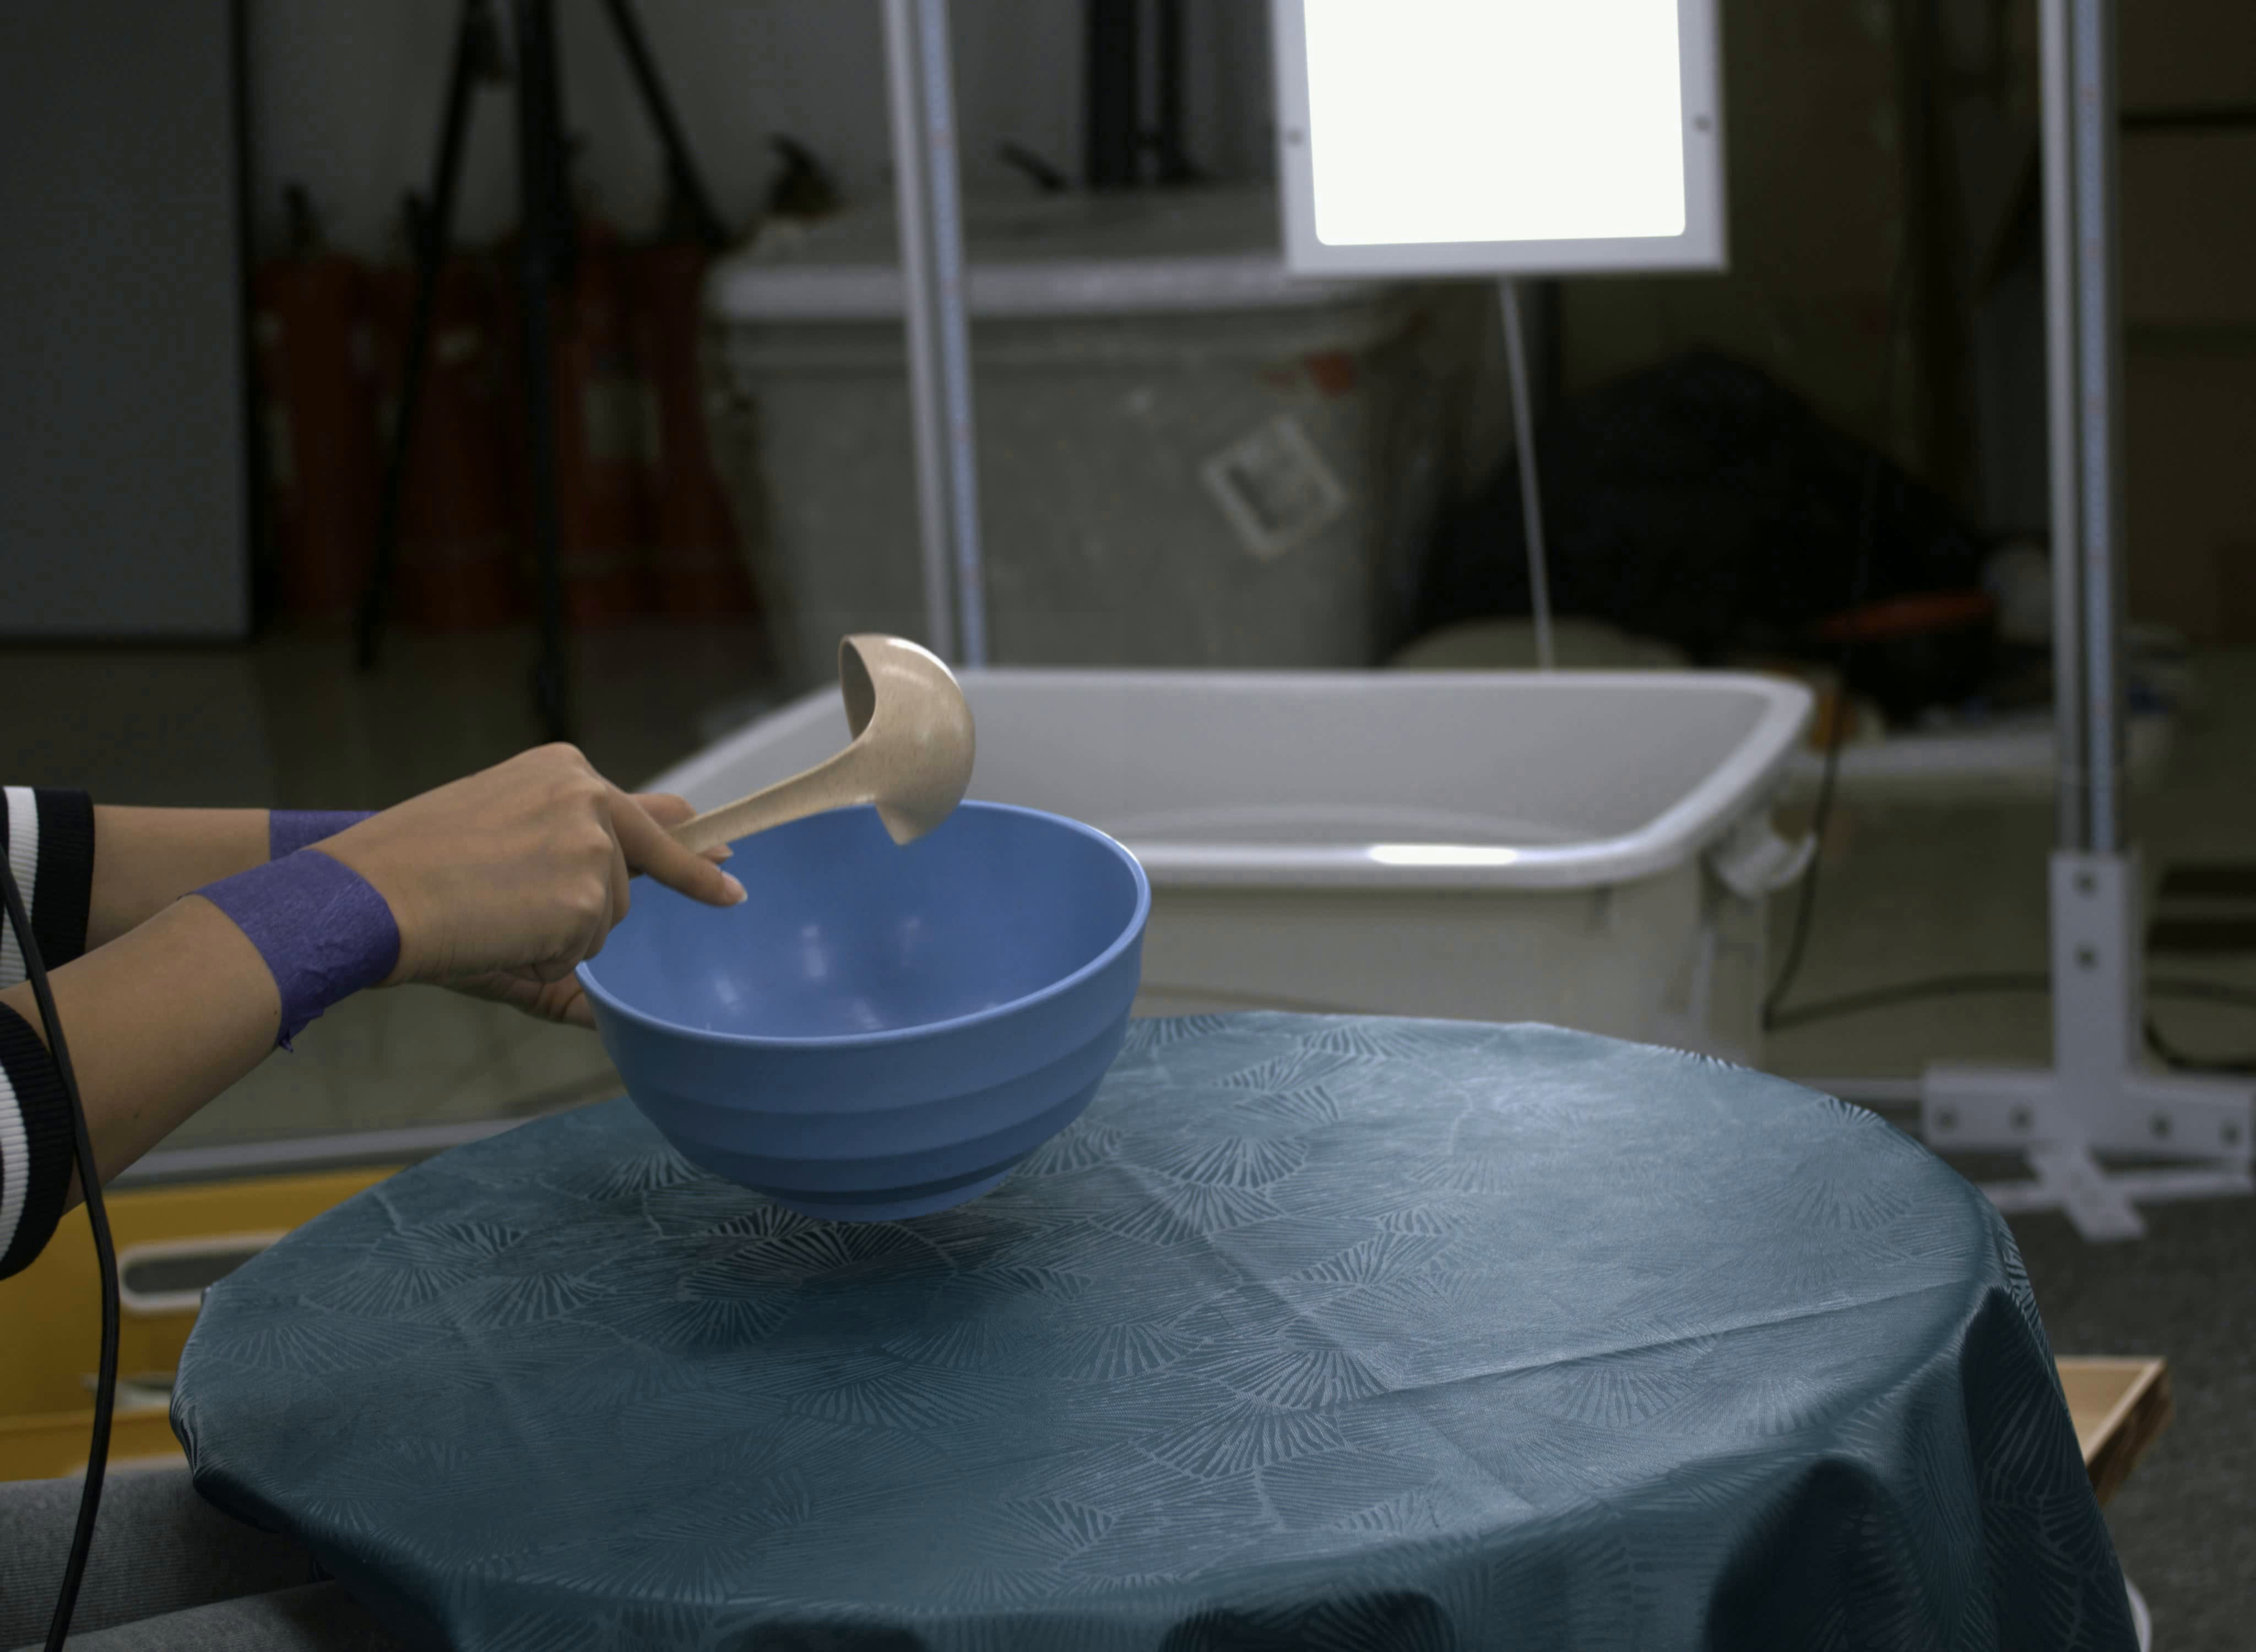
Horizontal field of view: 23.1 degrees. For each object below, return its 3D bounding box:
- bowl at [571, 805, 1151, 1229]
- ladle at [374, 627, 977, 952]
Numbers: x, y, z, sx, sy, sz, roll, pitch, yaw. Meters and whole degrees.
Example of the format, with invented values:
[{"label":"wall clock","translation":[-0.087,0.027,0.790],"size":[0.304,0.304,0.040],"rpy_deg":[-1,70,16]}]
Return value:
[{"label":"bowl","translation":[-0.087,0.074,1.871],"size":[0.196,0.096,0.196],"rpy_deg":[-5,23,1]},{"label":"ladle","translation":[-0.157,-0.004,1.786],"size":[0.248,0.072,0.074],"rpy_deg":[-20,15,-35]}]
